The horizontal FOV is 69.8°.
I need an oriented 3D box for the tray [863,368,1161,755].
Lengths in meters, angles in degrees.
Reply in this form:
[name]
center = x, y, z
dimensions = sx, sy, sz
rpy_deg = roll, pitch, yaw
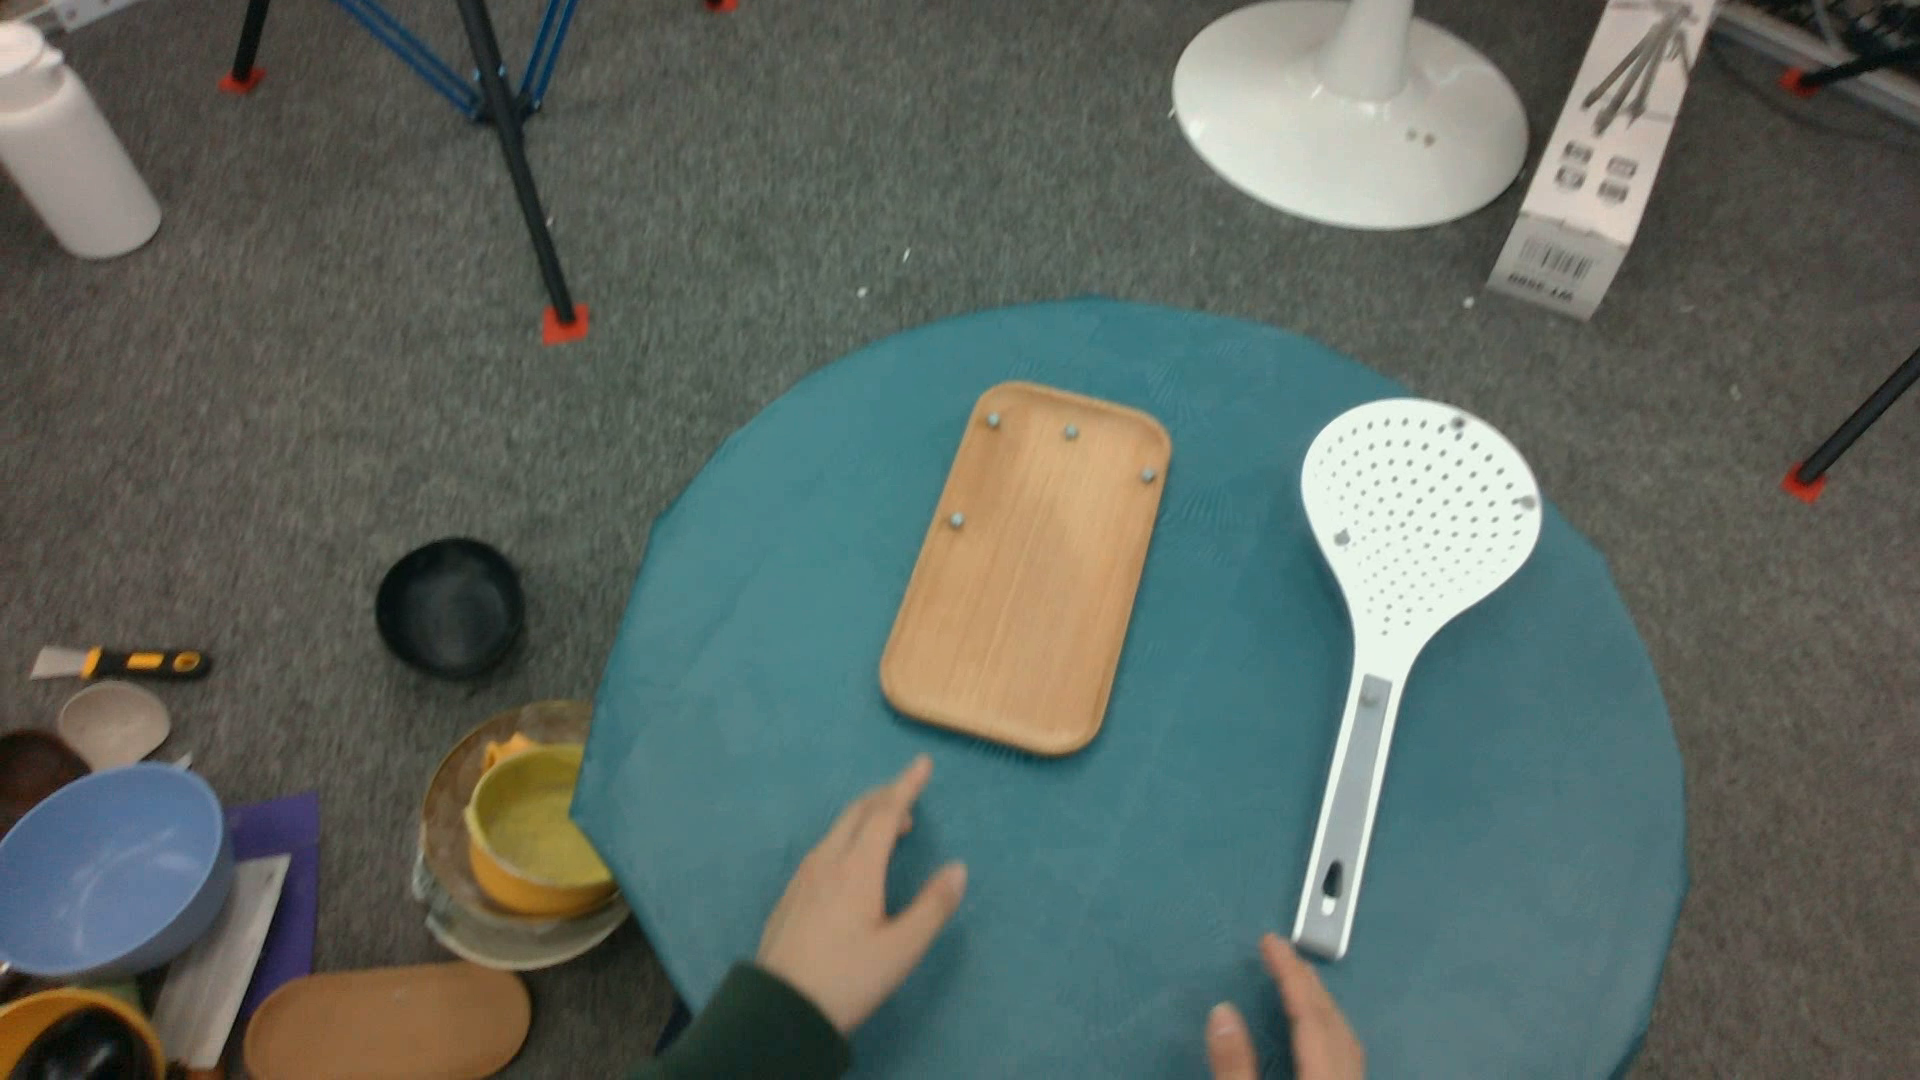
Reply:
[tray]
center = 0.036, 0.005, 0.811
dimensions = 0.130, 0.023, 0.252
rpy_deg = 15, 58, 8

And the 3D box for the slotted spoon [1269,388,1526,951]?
[slotted spoon]
center = 0.229, 0.060, 0.772
dimensions = 0.136, 0.045, 0.351
rpy_deg = 17, 58, 10
